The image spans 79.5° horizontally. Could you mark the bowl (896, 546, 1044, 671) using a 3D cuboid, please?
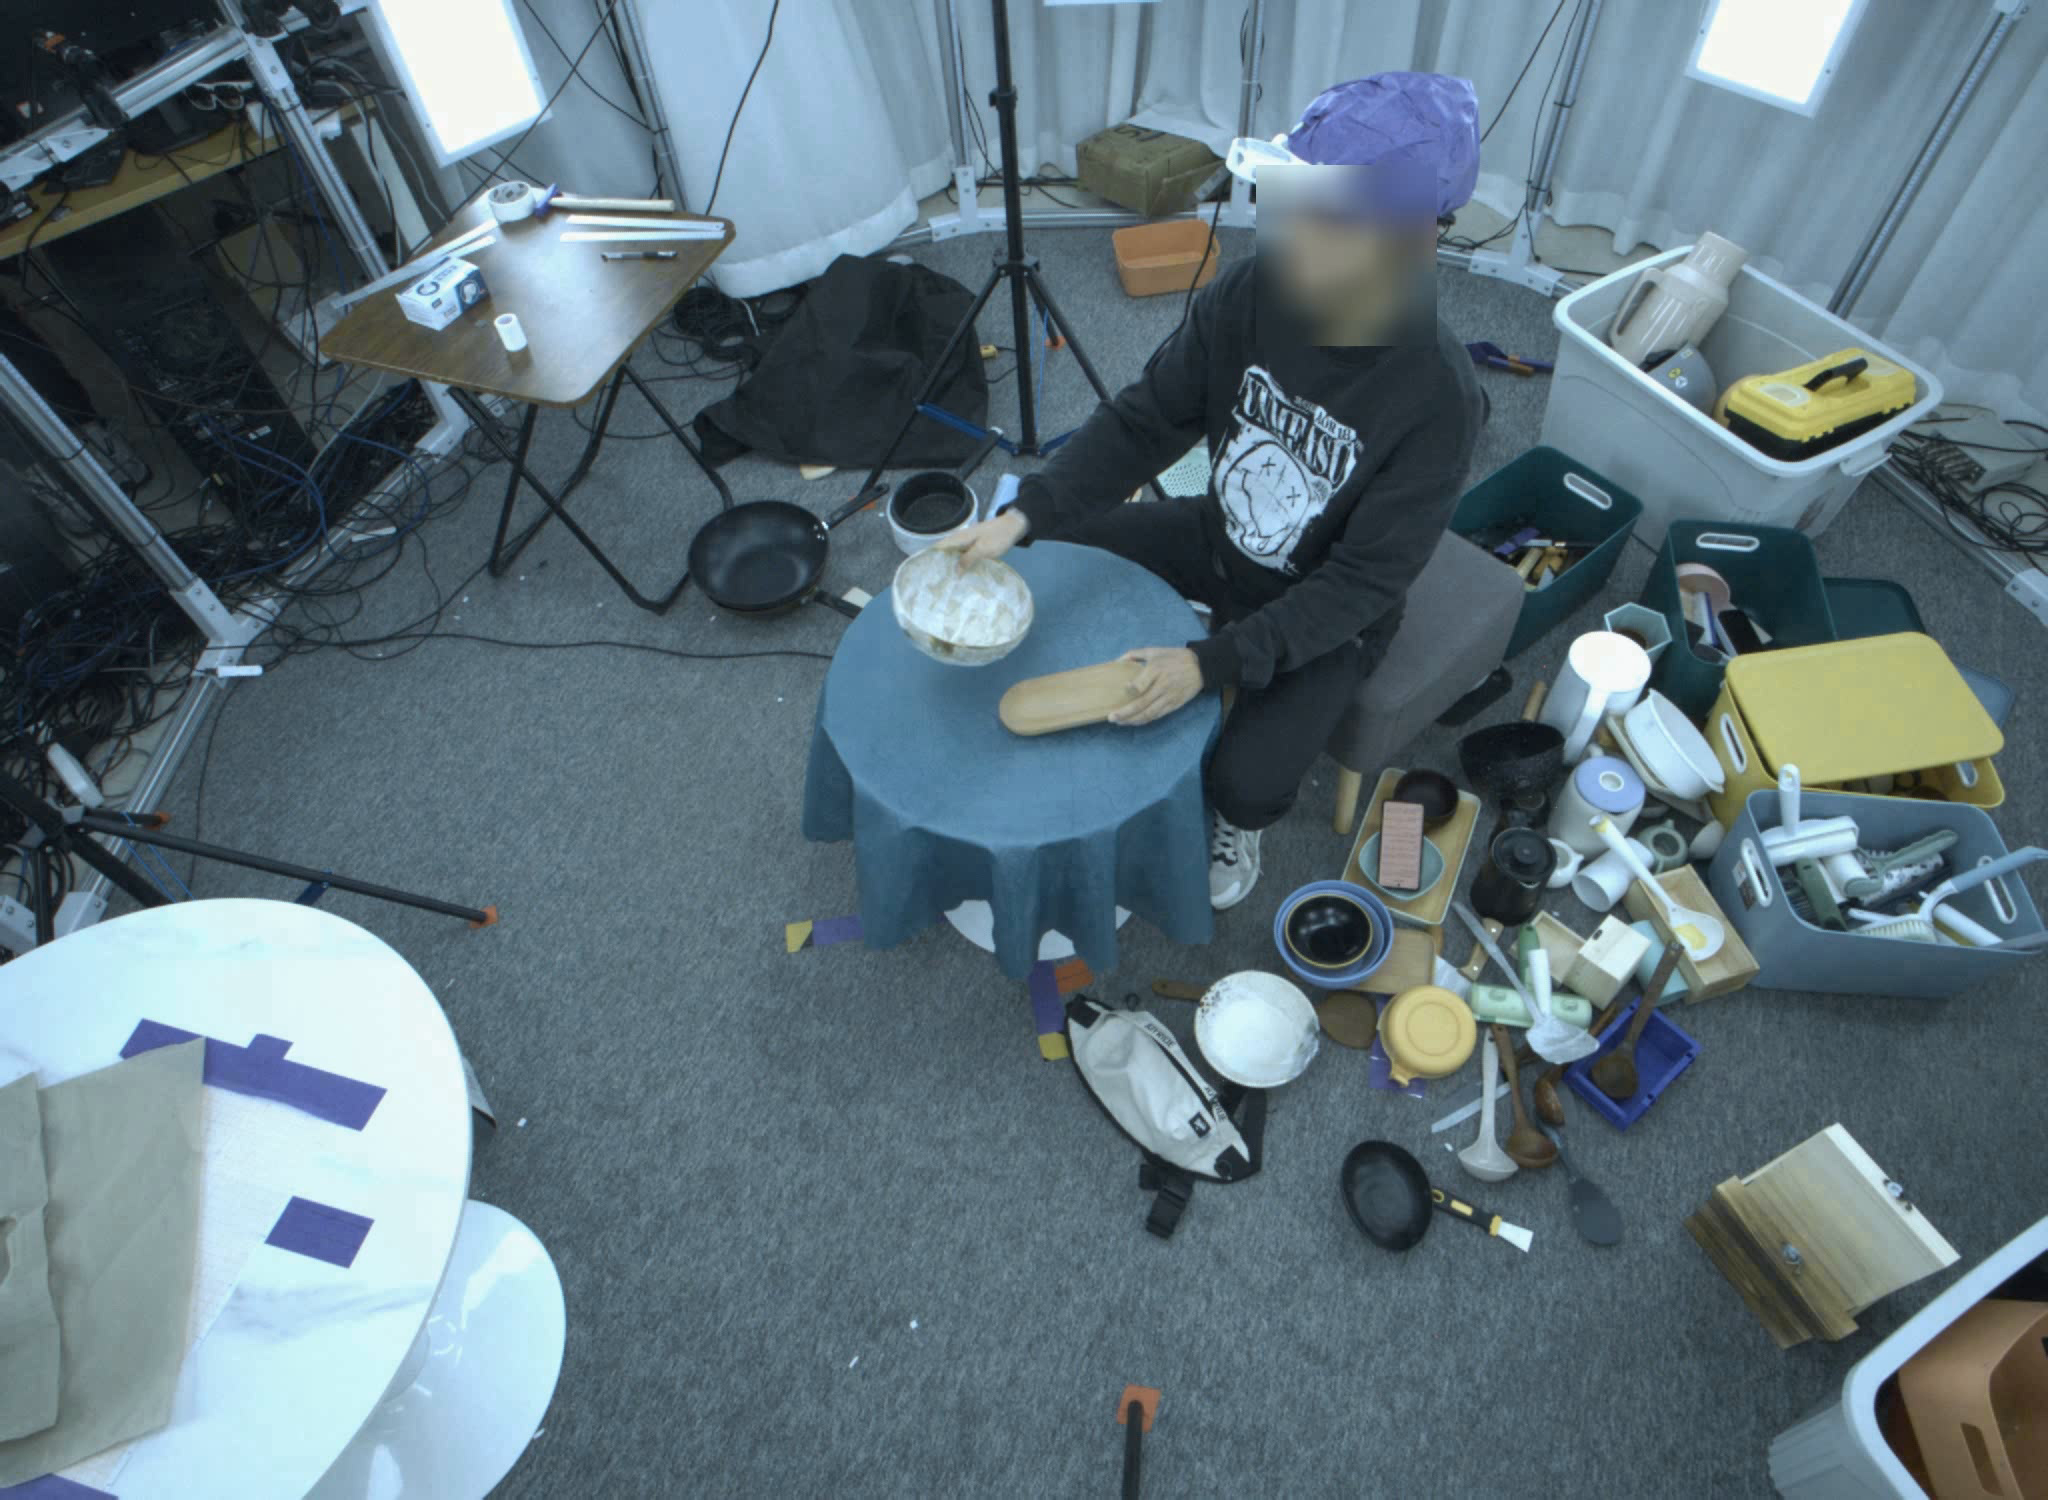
[{"bbox_3d":[-0.086,-0.182,1.743,0.217,0.094,0.212,13,49,-14],"label":"bowl"}]

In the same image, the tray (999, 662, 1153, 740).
[{"bbox_3d":[0.076,-0.071,1.815,0.230,0.020,0.100,-13,50,6],"label":"tray"}]
